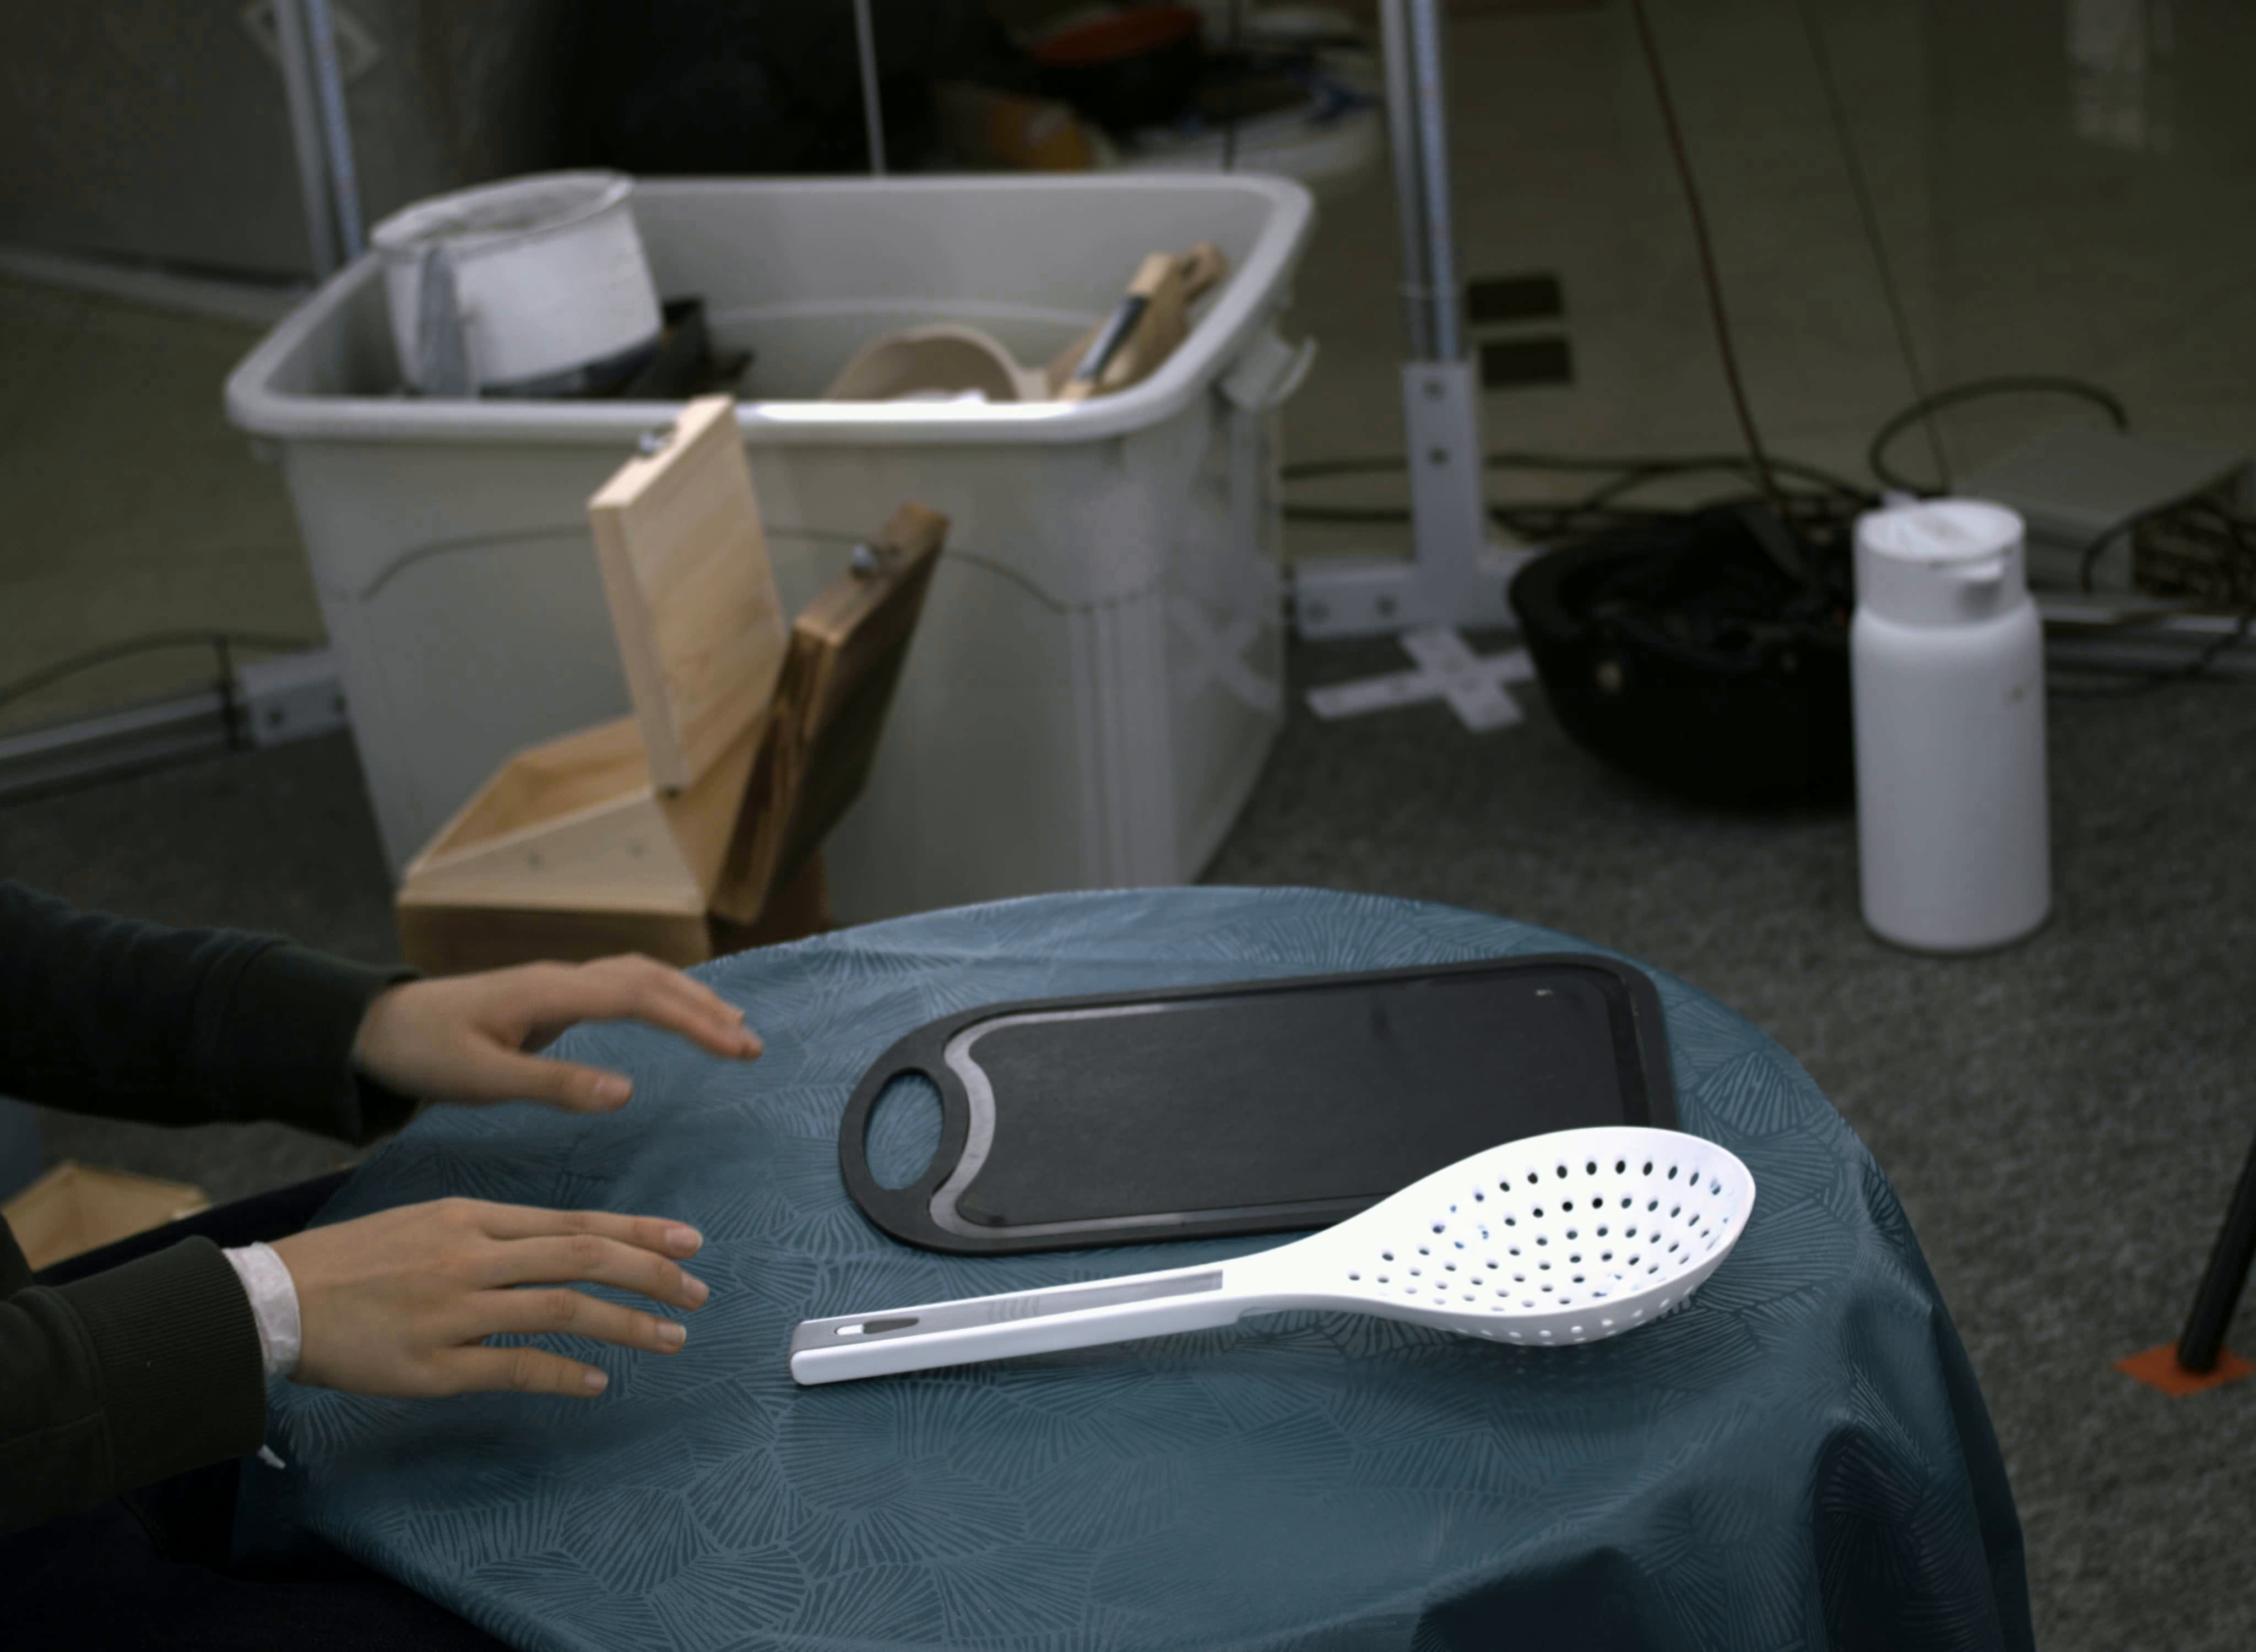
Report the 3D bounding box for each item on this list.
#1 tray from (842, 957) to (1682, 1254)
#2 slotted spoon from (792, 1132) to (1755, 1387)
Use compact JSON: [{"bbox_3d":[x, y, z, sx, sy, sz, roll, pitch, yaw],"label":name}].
[{"bbox_3d":[0.050,0.106,2.203,0.325,0.010,0.208,-5,24,4],"label":"tray"},{"bbox_3d":[0.051,0.164,2.032,0.349,0.046,0.134,-5,22,5],"label":"slotted spoon"}]
